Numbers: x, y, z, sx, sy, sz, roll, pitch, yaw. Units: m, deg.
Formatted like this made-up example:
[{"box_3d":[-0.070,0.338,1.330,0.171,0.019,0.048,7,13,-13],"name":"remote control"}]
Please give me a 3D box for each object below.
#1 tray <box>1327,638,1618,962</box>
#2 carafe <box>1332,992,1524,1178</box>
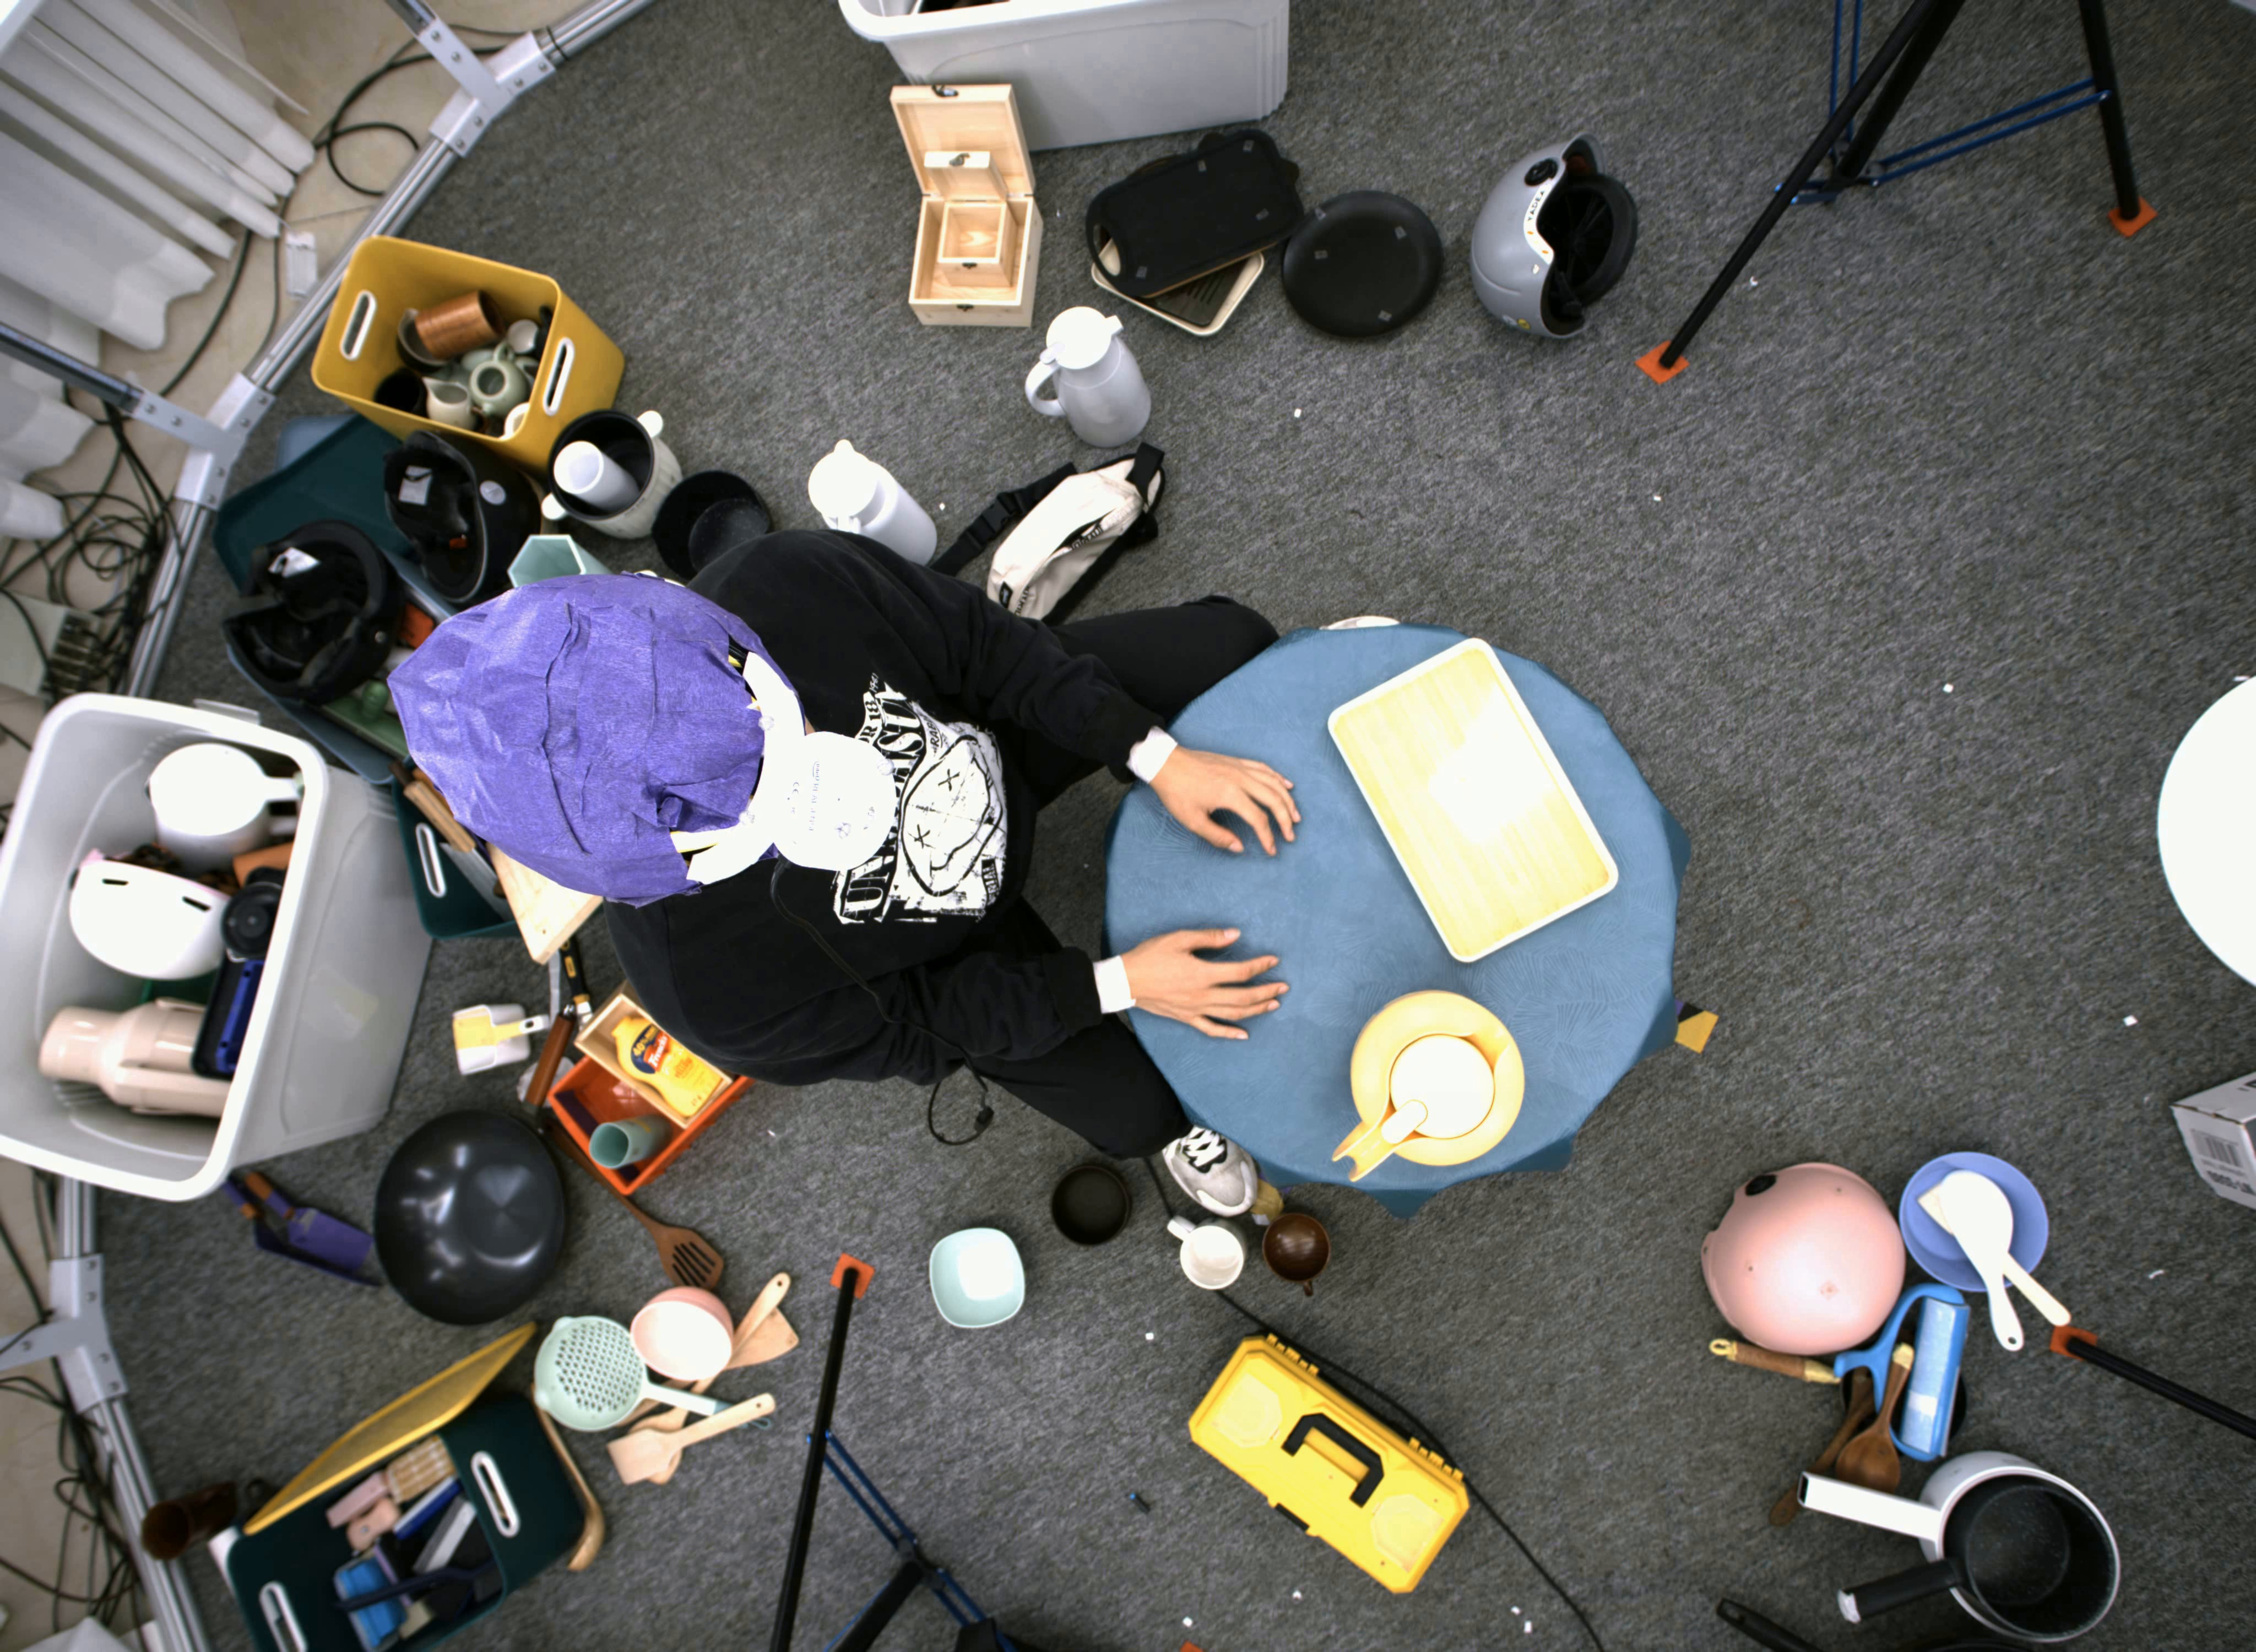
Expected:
[{"box_3d":[0.357,-0.029,1.436,0.193,0.027,0.298,-28,82,8],"name":"tray"},{"box_3d":[0.278,0.250,1.320,0.203,0.261,0.162,-41,77,4],"name":"carafe"}]
